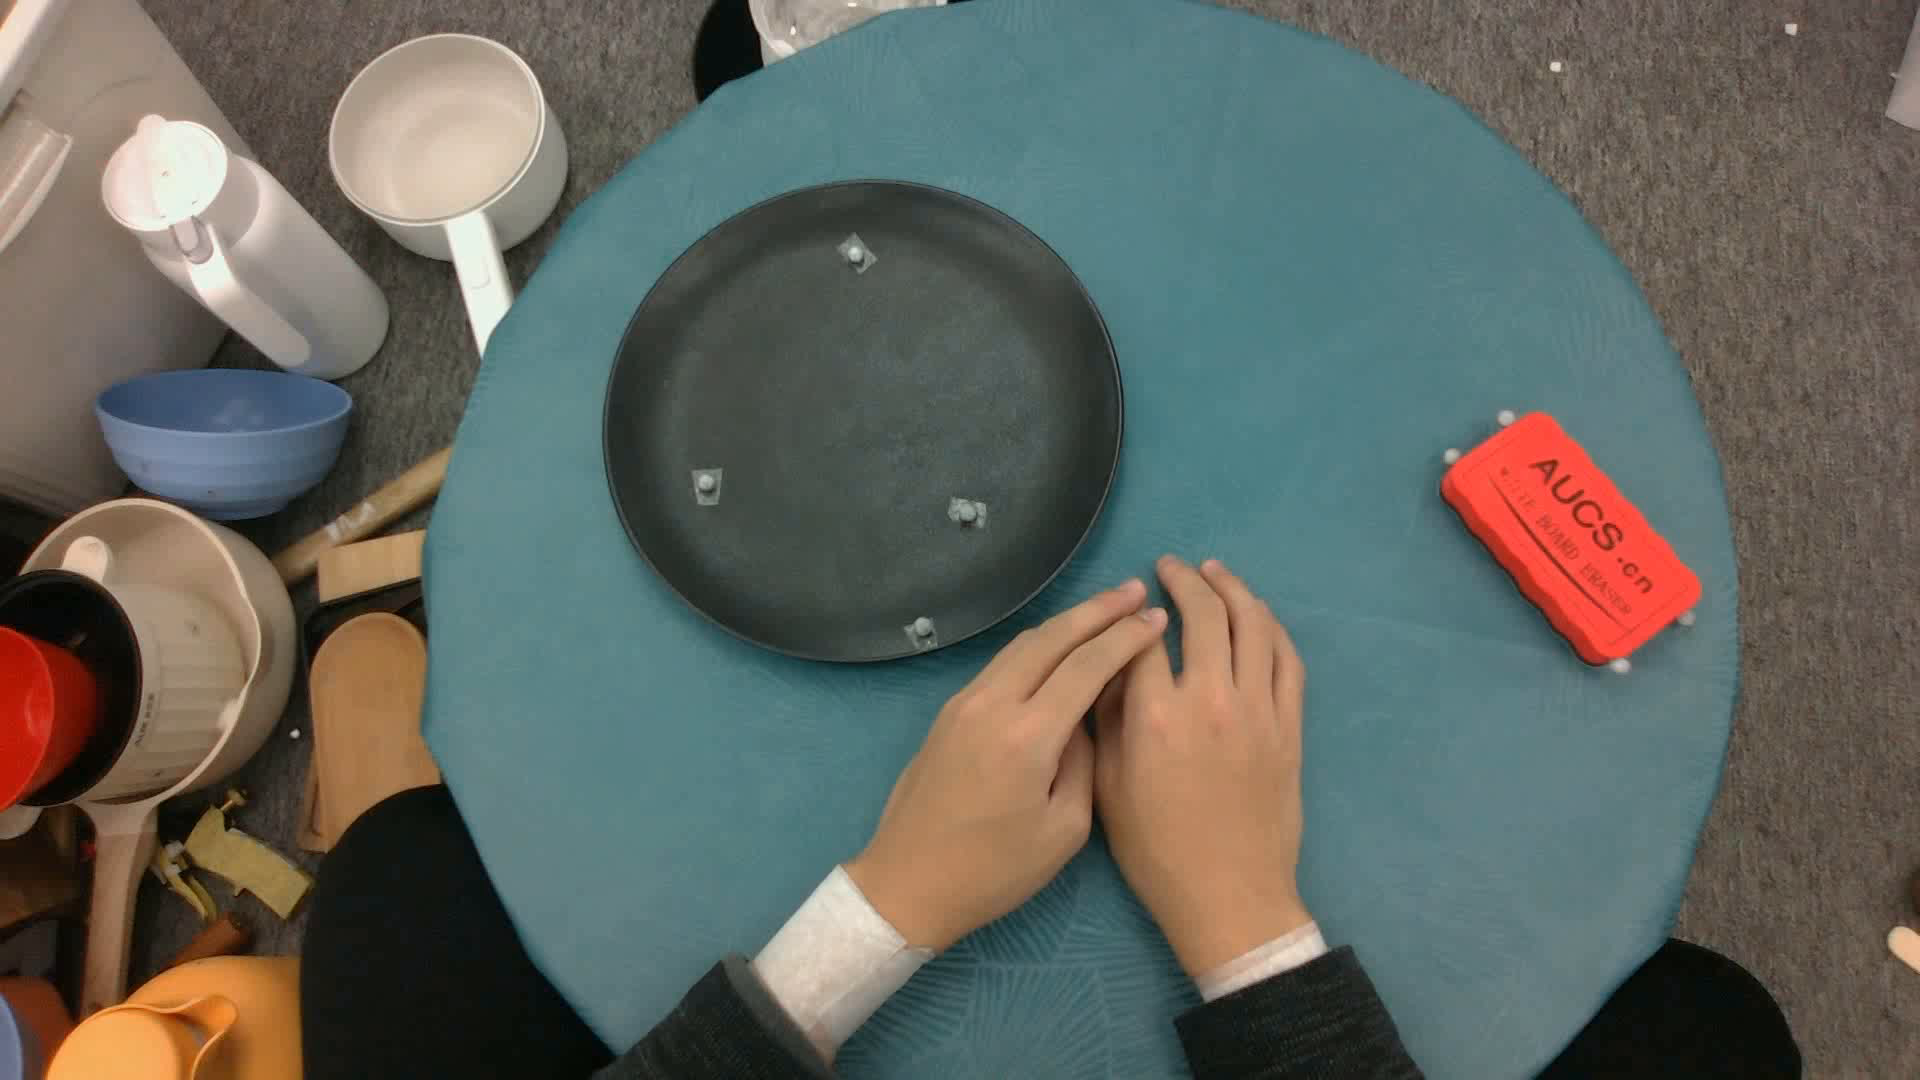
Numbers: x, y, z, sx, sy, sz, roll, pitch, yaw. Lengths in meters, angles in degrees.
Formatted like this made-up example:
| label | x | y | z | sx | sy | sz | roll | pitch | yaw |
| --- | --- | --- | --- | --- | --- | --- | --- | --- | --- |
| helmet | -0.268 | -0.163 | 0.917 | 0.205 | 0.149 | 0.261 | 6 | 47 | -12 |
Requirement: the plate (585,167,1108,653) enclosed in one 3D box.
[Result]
| label | x | y | z | sx | sy | sz | roll | pitch | yaw |
| --- | --- | --- | --- | --- | --- | --- | --- | --- | --- |
| plate | -0.053 | -0.064 | 0.647 | 0.244 | 0.023 | 0.245 | 0 | 73 | 1 |

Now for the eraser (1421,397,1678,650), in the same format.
| label | x | y | z | sx | sy | sz | roll | pitch | yaw |
| --- | --- | --- | --- | --- | --- | --- | --- | --- | --- |
| eraser | 0.262 | -0.008 | 0.616 | 0.059 | 0.023 | 0.108 | -34 | 77 | -7 |
